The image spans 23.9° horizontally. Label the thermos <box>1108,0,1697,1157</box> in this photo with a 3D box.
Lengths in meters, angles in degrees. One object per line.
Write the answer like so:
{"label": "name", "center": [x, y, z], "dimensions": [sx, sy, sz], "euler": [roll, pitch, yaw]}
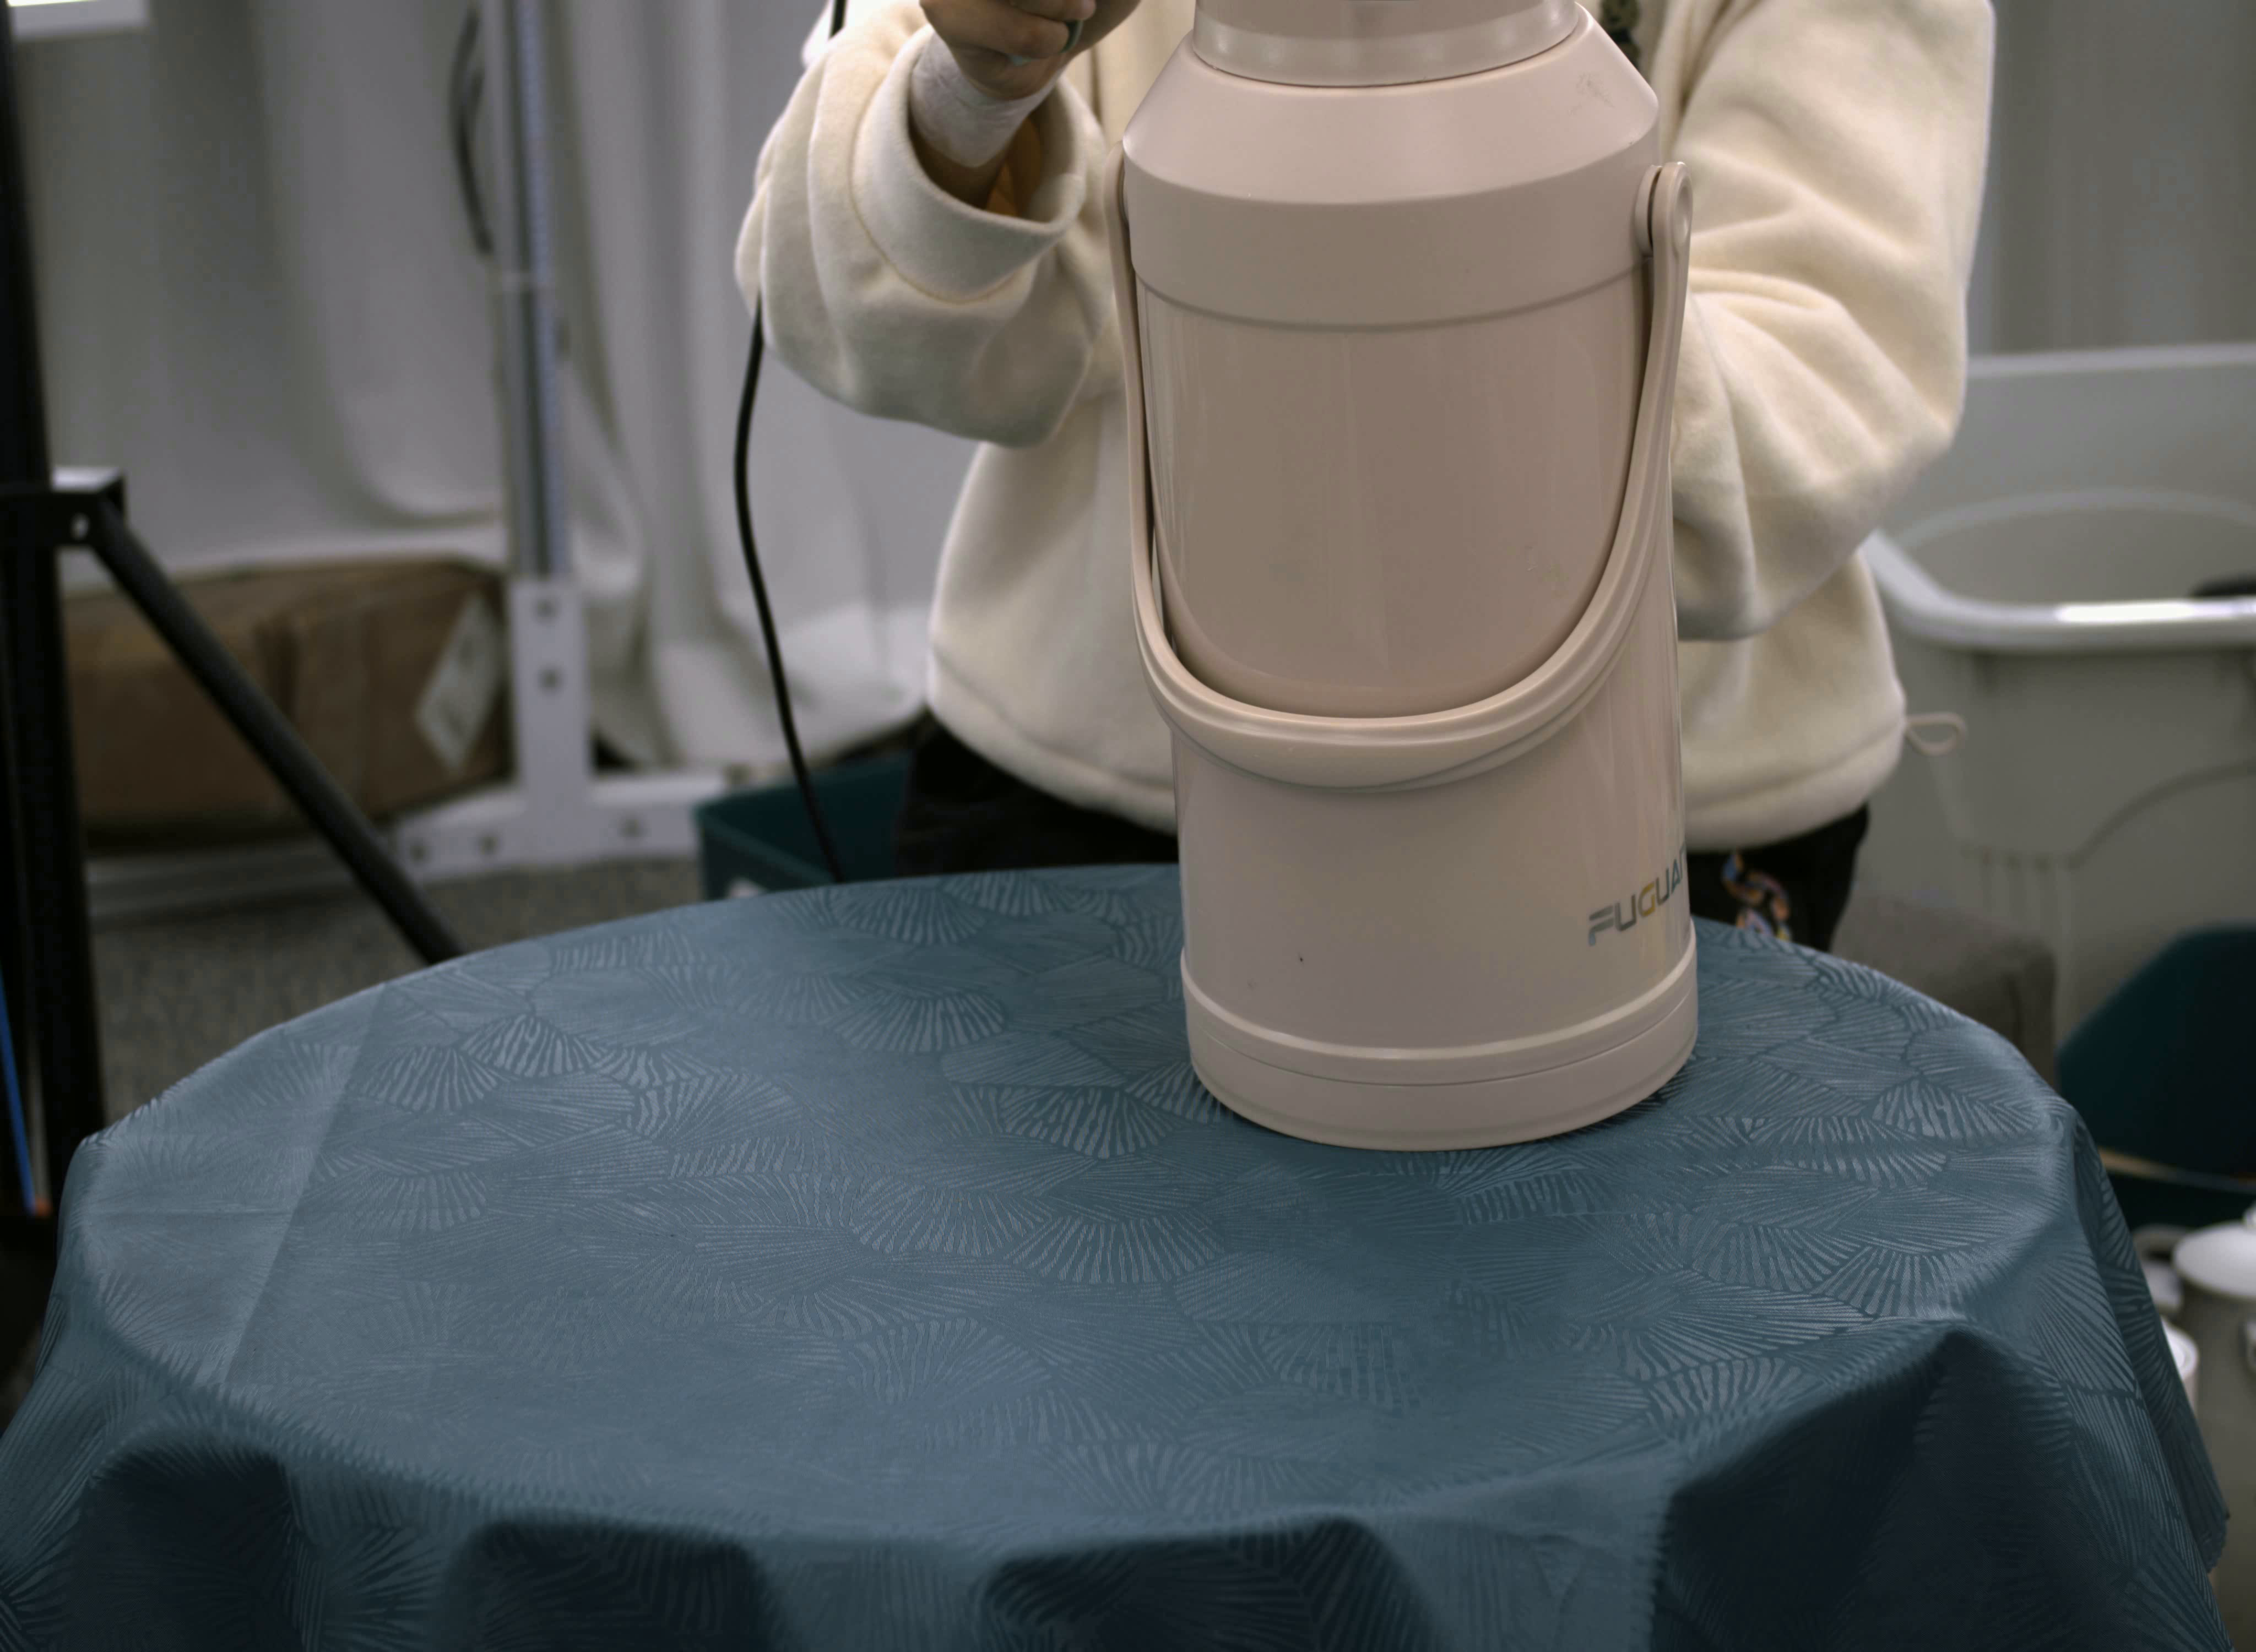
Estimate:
{"label": "thermos", "center": [0.089, -0.120, 1.586], "dimensions": [0.177, 0.405, 0.205], "euler": [5, 24, 22]}

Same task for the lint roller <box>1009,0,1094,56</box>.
{"label": "lint roller", "center": [0.002, -0.306, 1.620], "dimensions": [0.114, 0.049, 0.199], "euler": [-22, -16, -31]}
